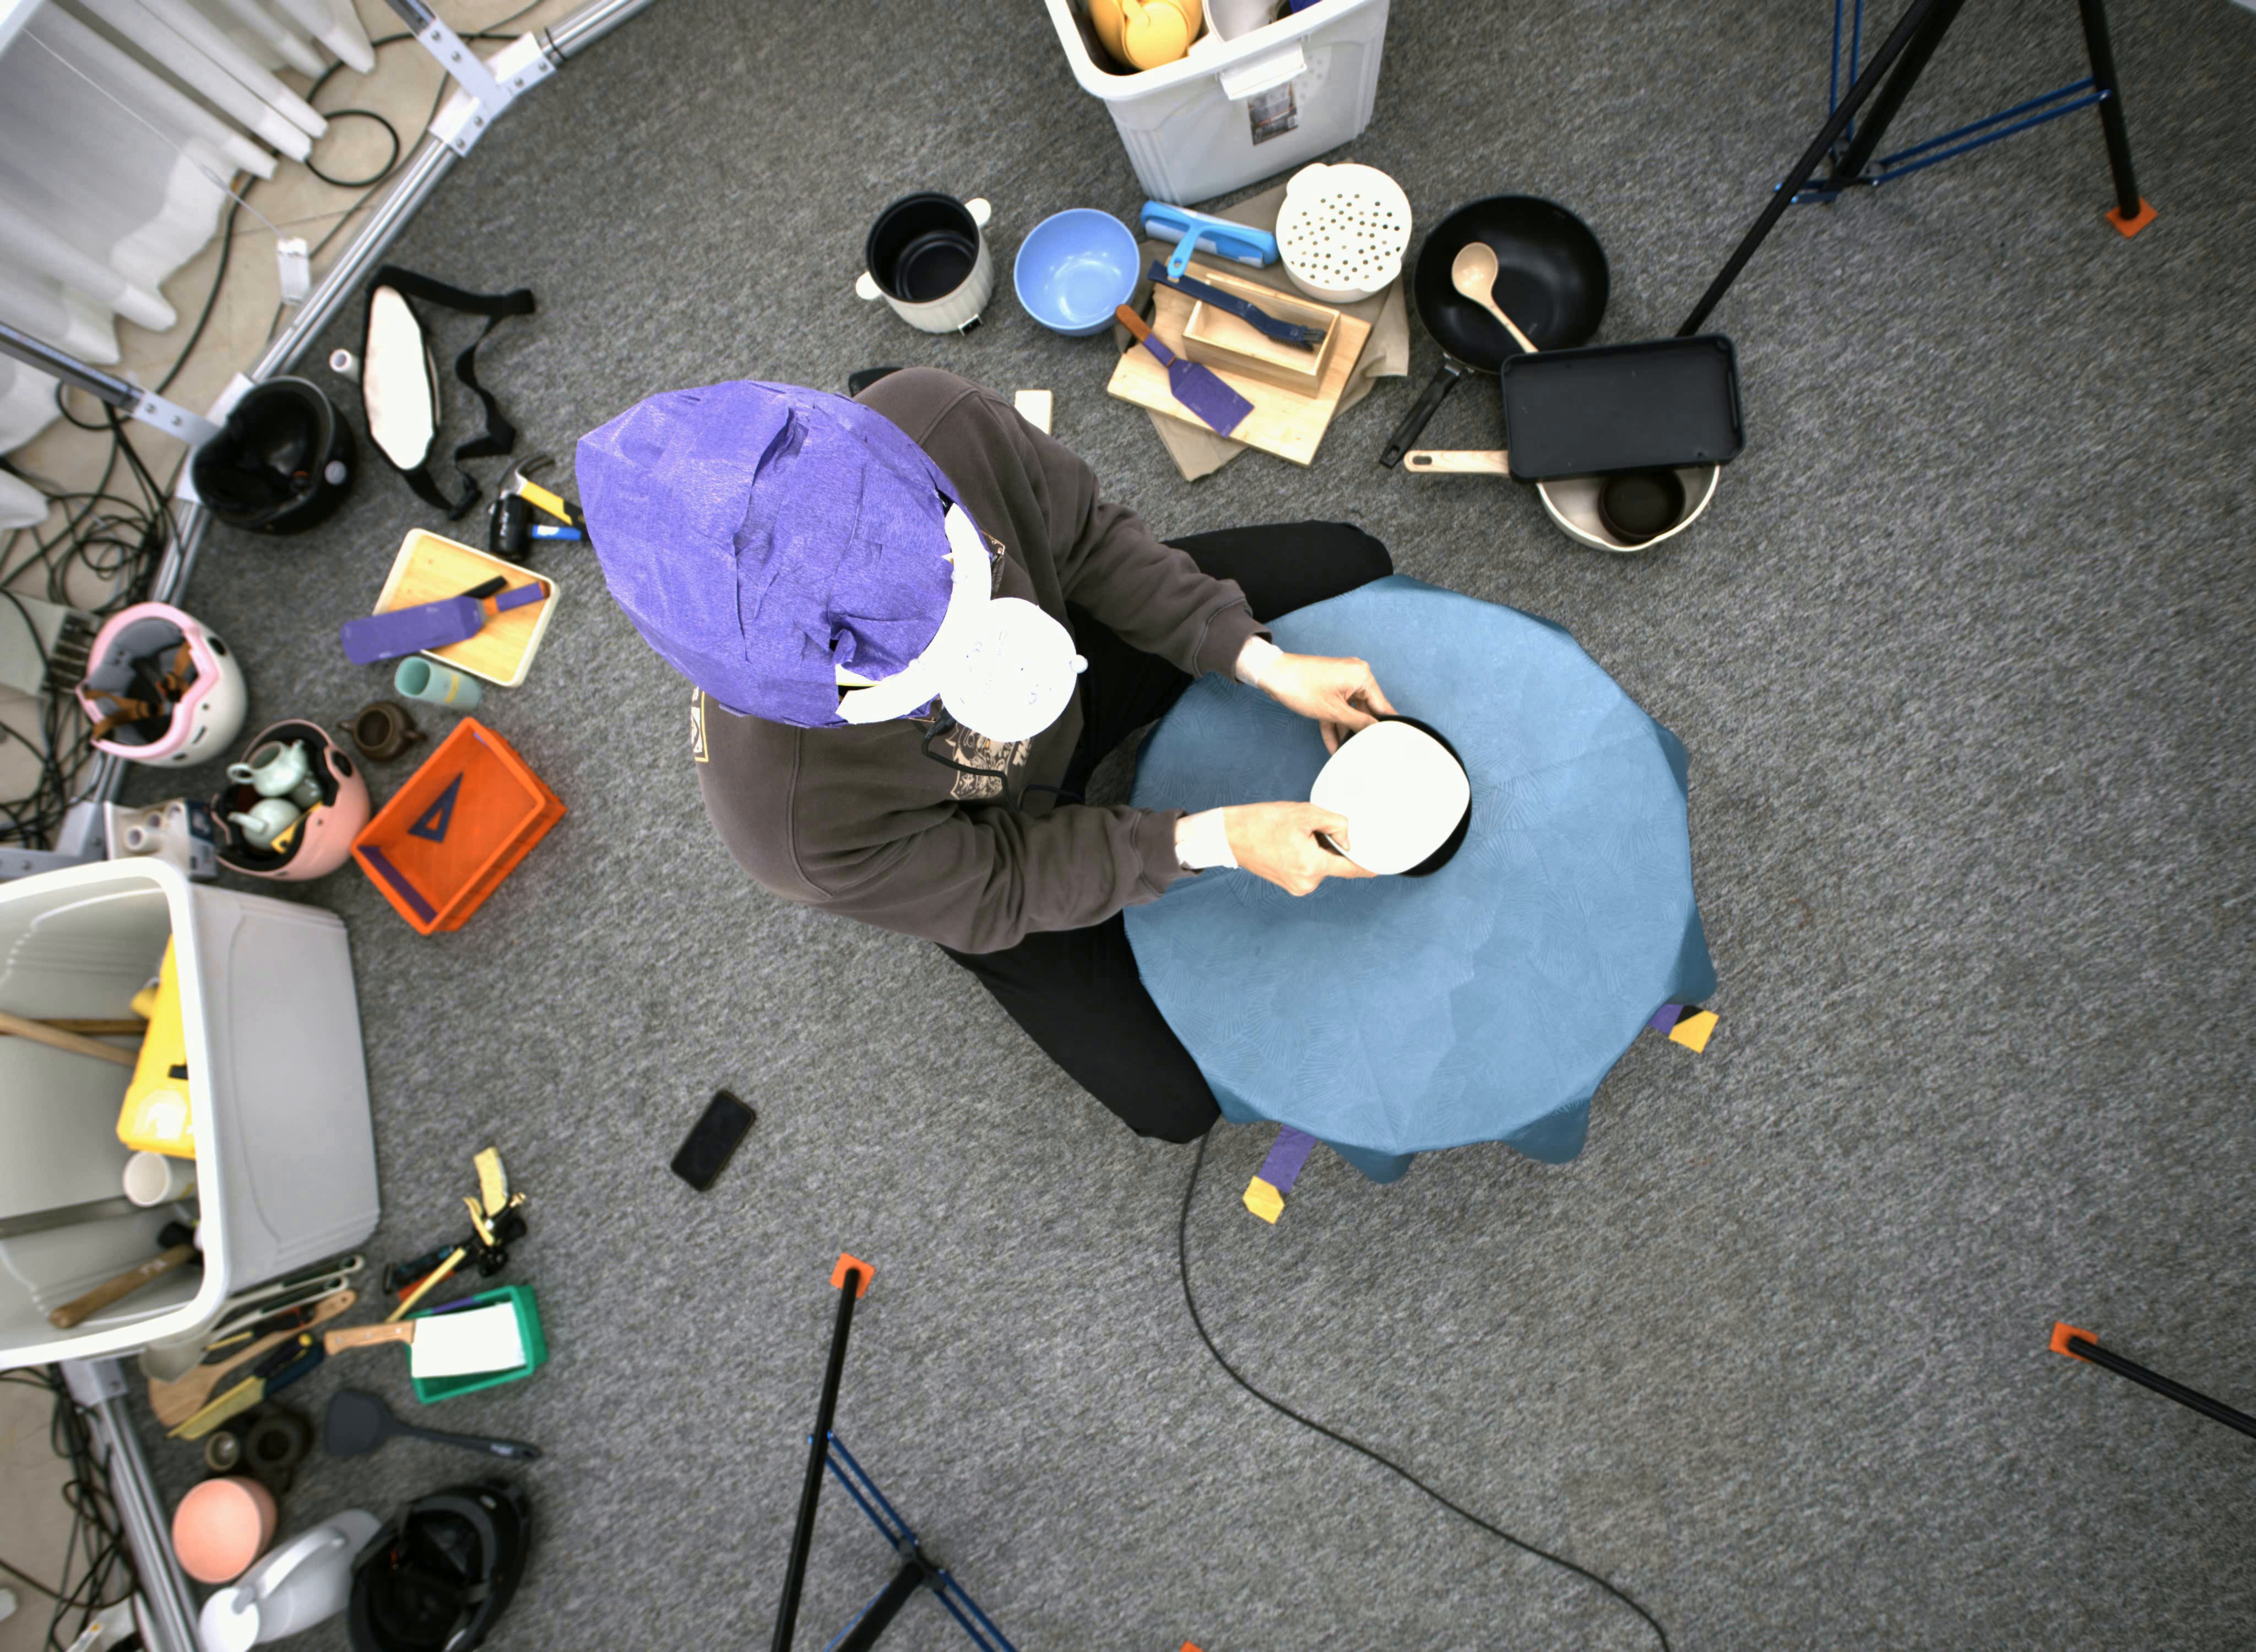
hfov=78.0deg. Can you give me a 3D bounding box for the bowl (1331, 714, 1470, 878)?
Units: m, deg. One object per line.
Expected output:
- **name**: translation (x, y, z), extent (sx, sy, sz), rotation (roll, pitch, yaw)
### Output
- **bowl**: translation (0.278, -0.032, 1.408), extent (0.138, 0.066, 0.170), rotation (-23, 87, 10)

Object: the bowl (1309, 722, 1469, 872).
- **bowl**: translation (0.255, -0.022, 1.329), extent (0.152, 0.059, 0.149), rotation (-6, 71, 18)
